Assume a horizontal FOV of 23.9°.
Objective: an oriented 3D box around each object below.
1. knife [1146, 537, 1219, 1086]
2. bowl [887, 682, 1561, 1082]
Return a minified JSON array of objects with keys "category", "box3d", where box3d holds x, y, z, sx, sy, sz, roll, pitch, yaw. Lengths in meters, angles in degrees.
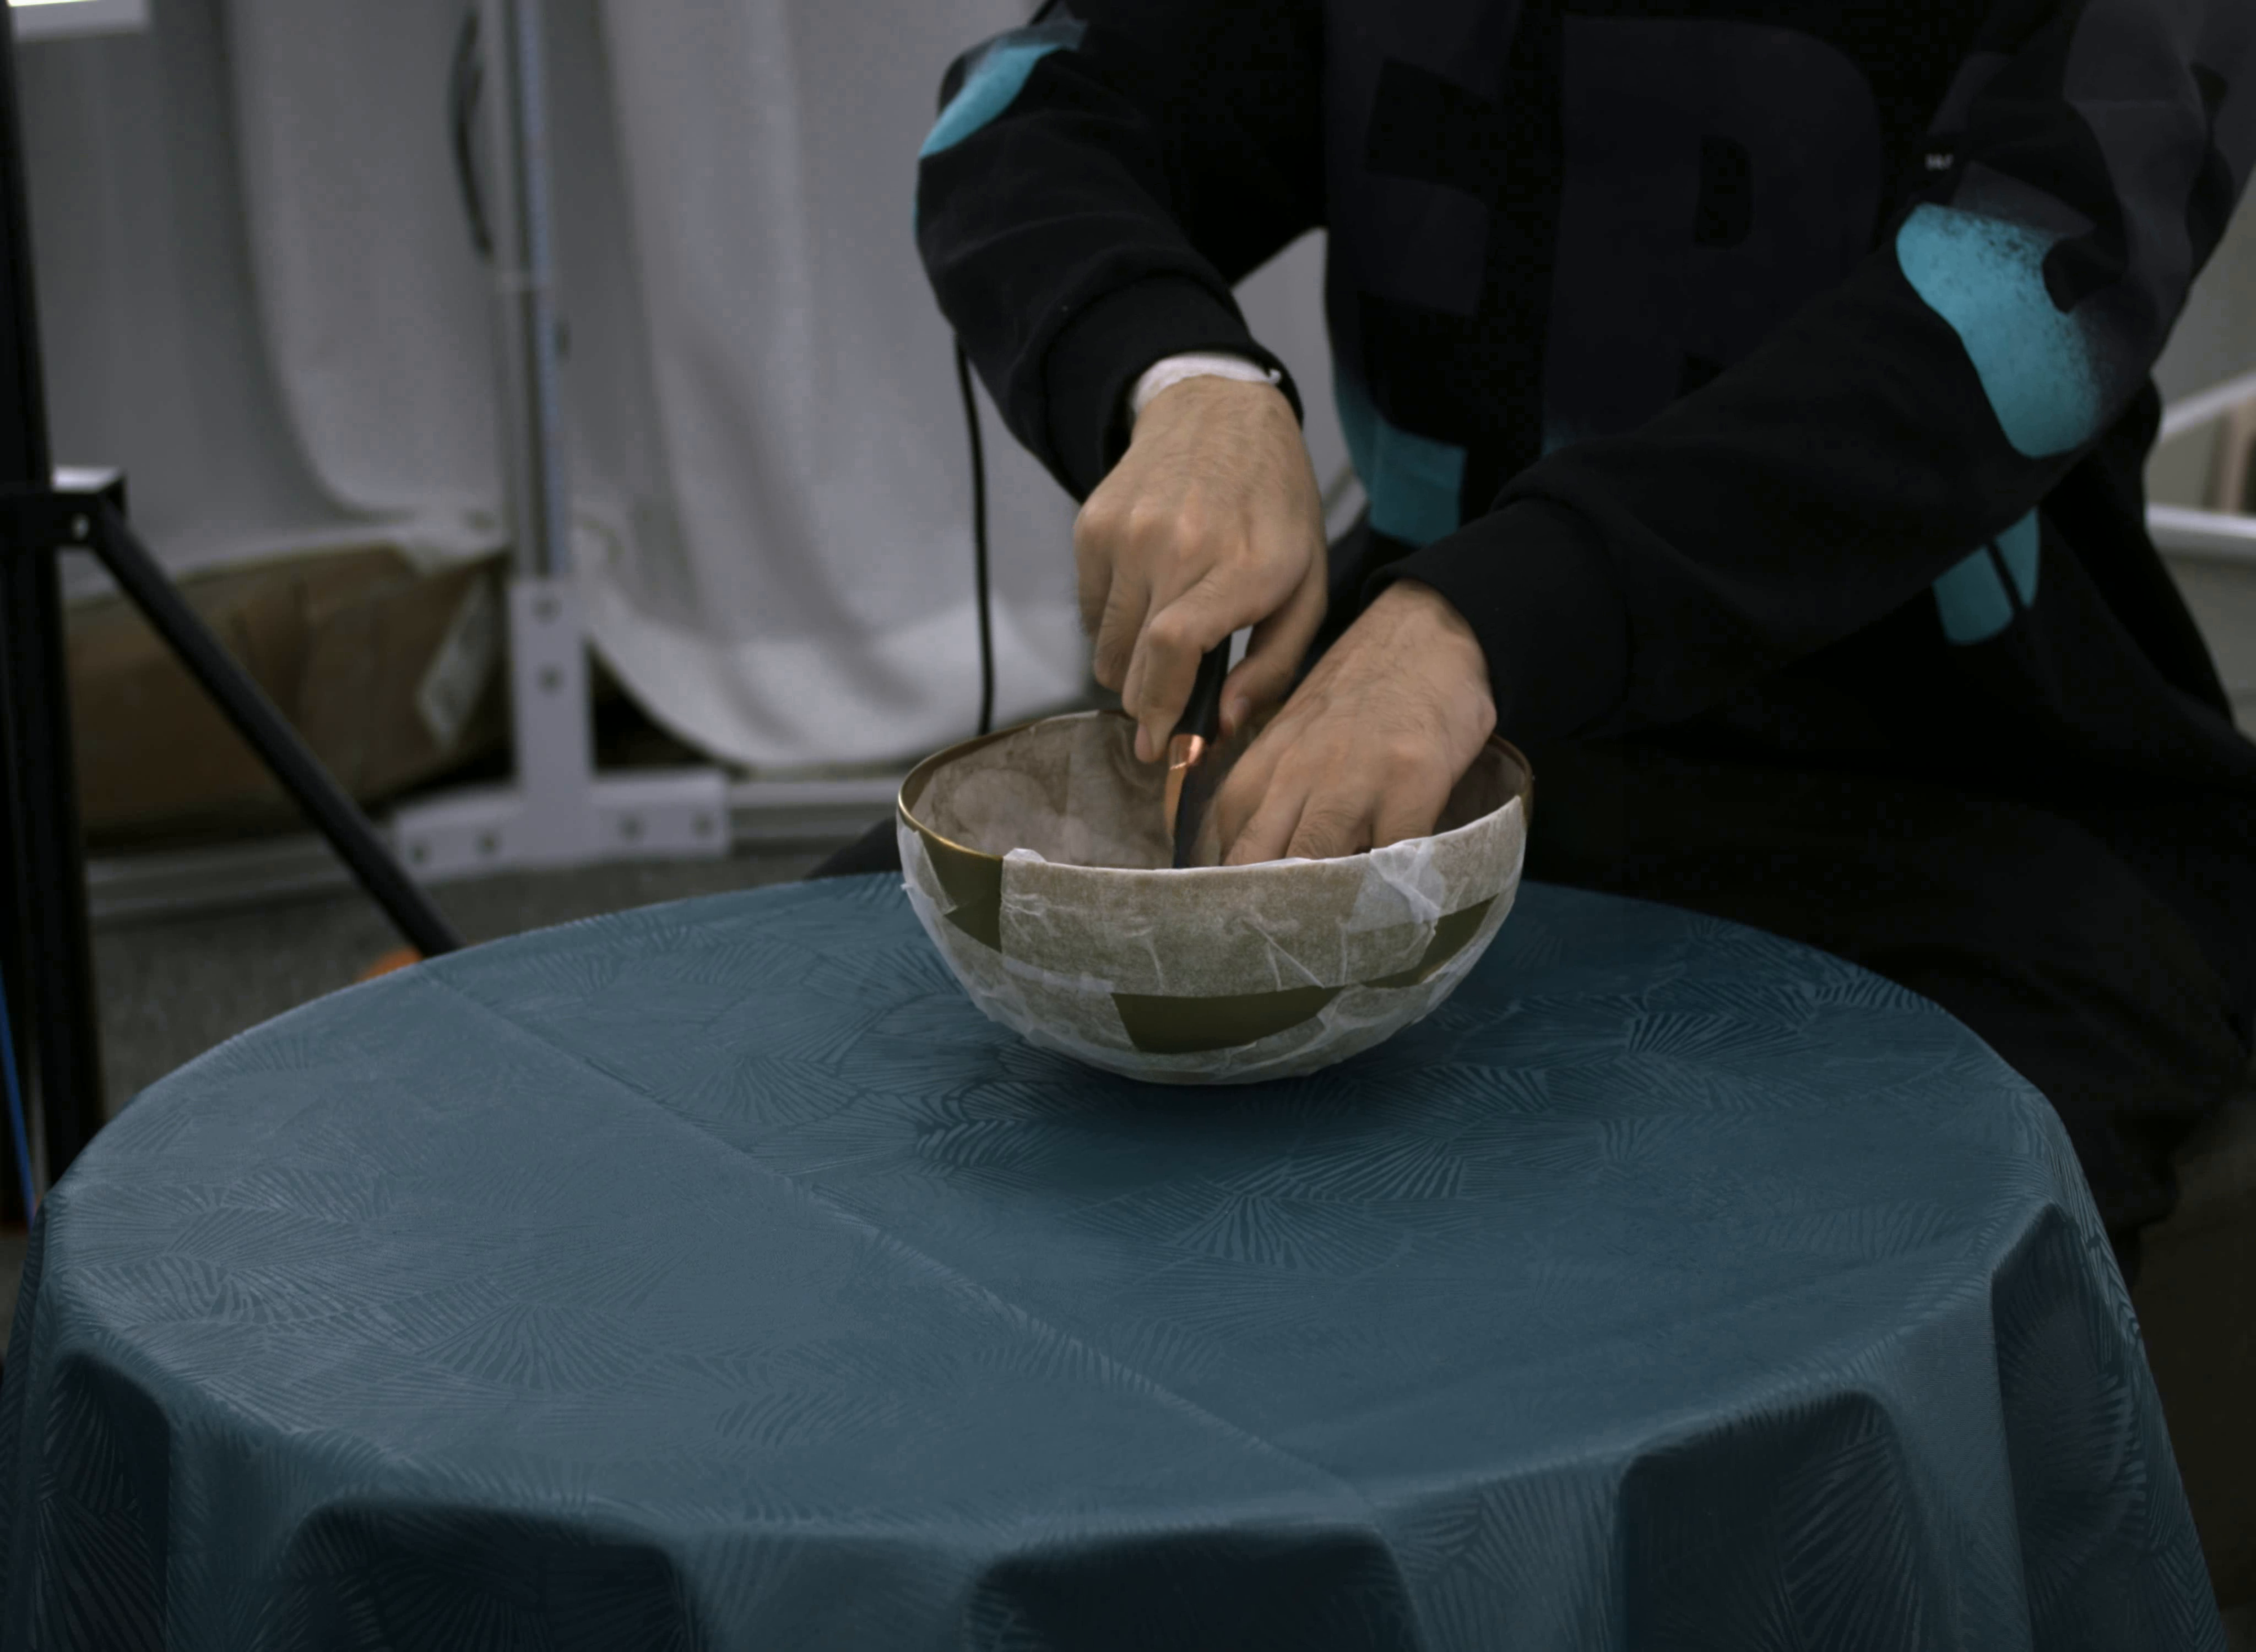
[{"category":"knife","box3d":[0.016,-0.008,1.679,0.017,0.026,0.227,7,46,-1]},{"category":"bowl","box3d":[0.031,0.025,1.667,0.214,0.094,0.216,-4,16,0]}]
